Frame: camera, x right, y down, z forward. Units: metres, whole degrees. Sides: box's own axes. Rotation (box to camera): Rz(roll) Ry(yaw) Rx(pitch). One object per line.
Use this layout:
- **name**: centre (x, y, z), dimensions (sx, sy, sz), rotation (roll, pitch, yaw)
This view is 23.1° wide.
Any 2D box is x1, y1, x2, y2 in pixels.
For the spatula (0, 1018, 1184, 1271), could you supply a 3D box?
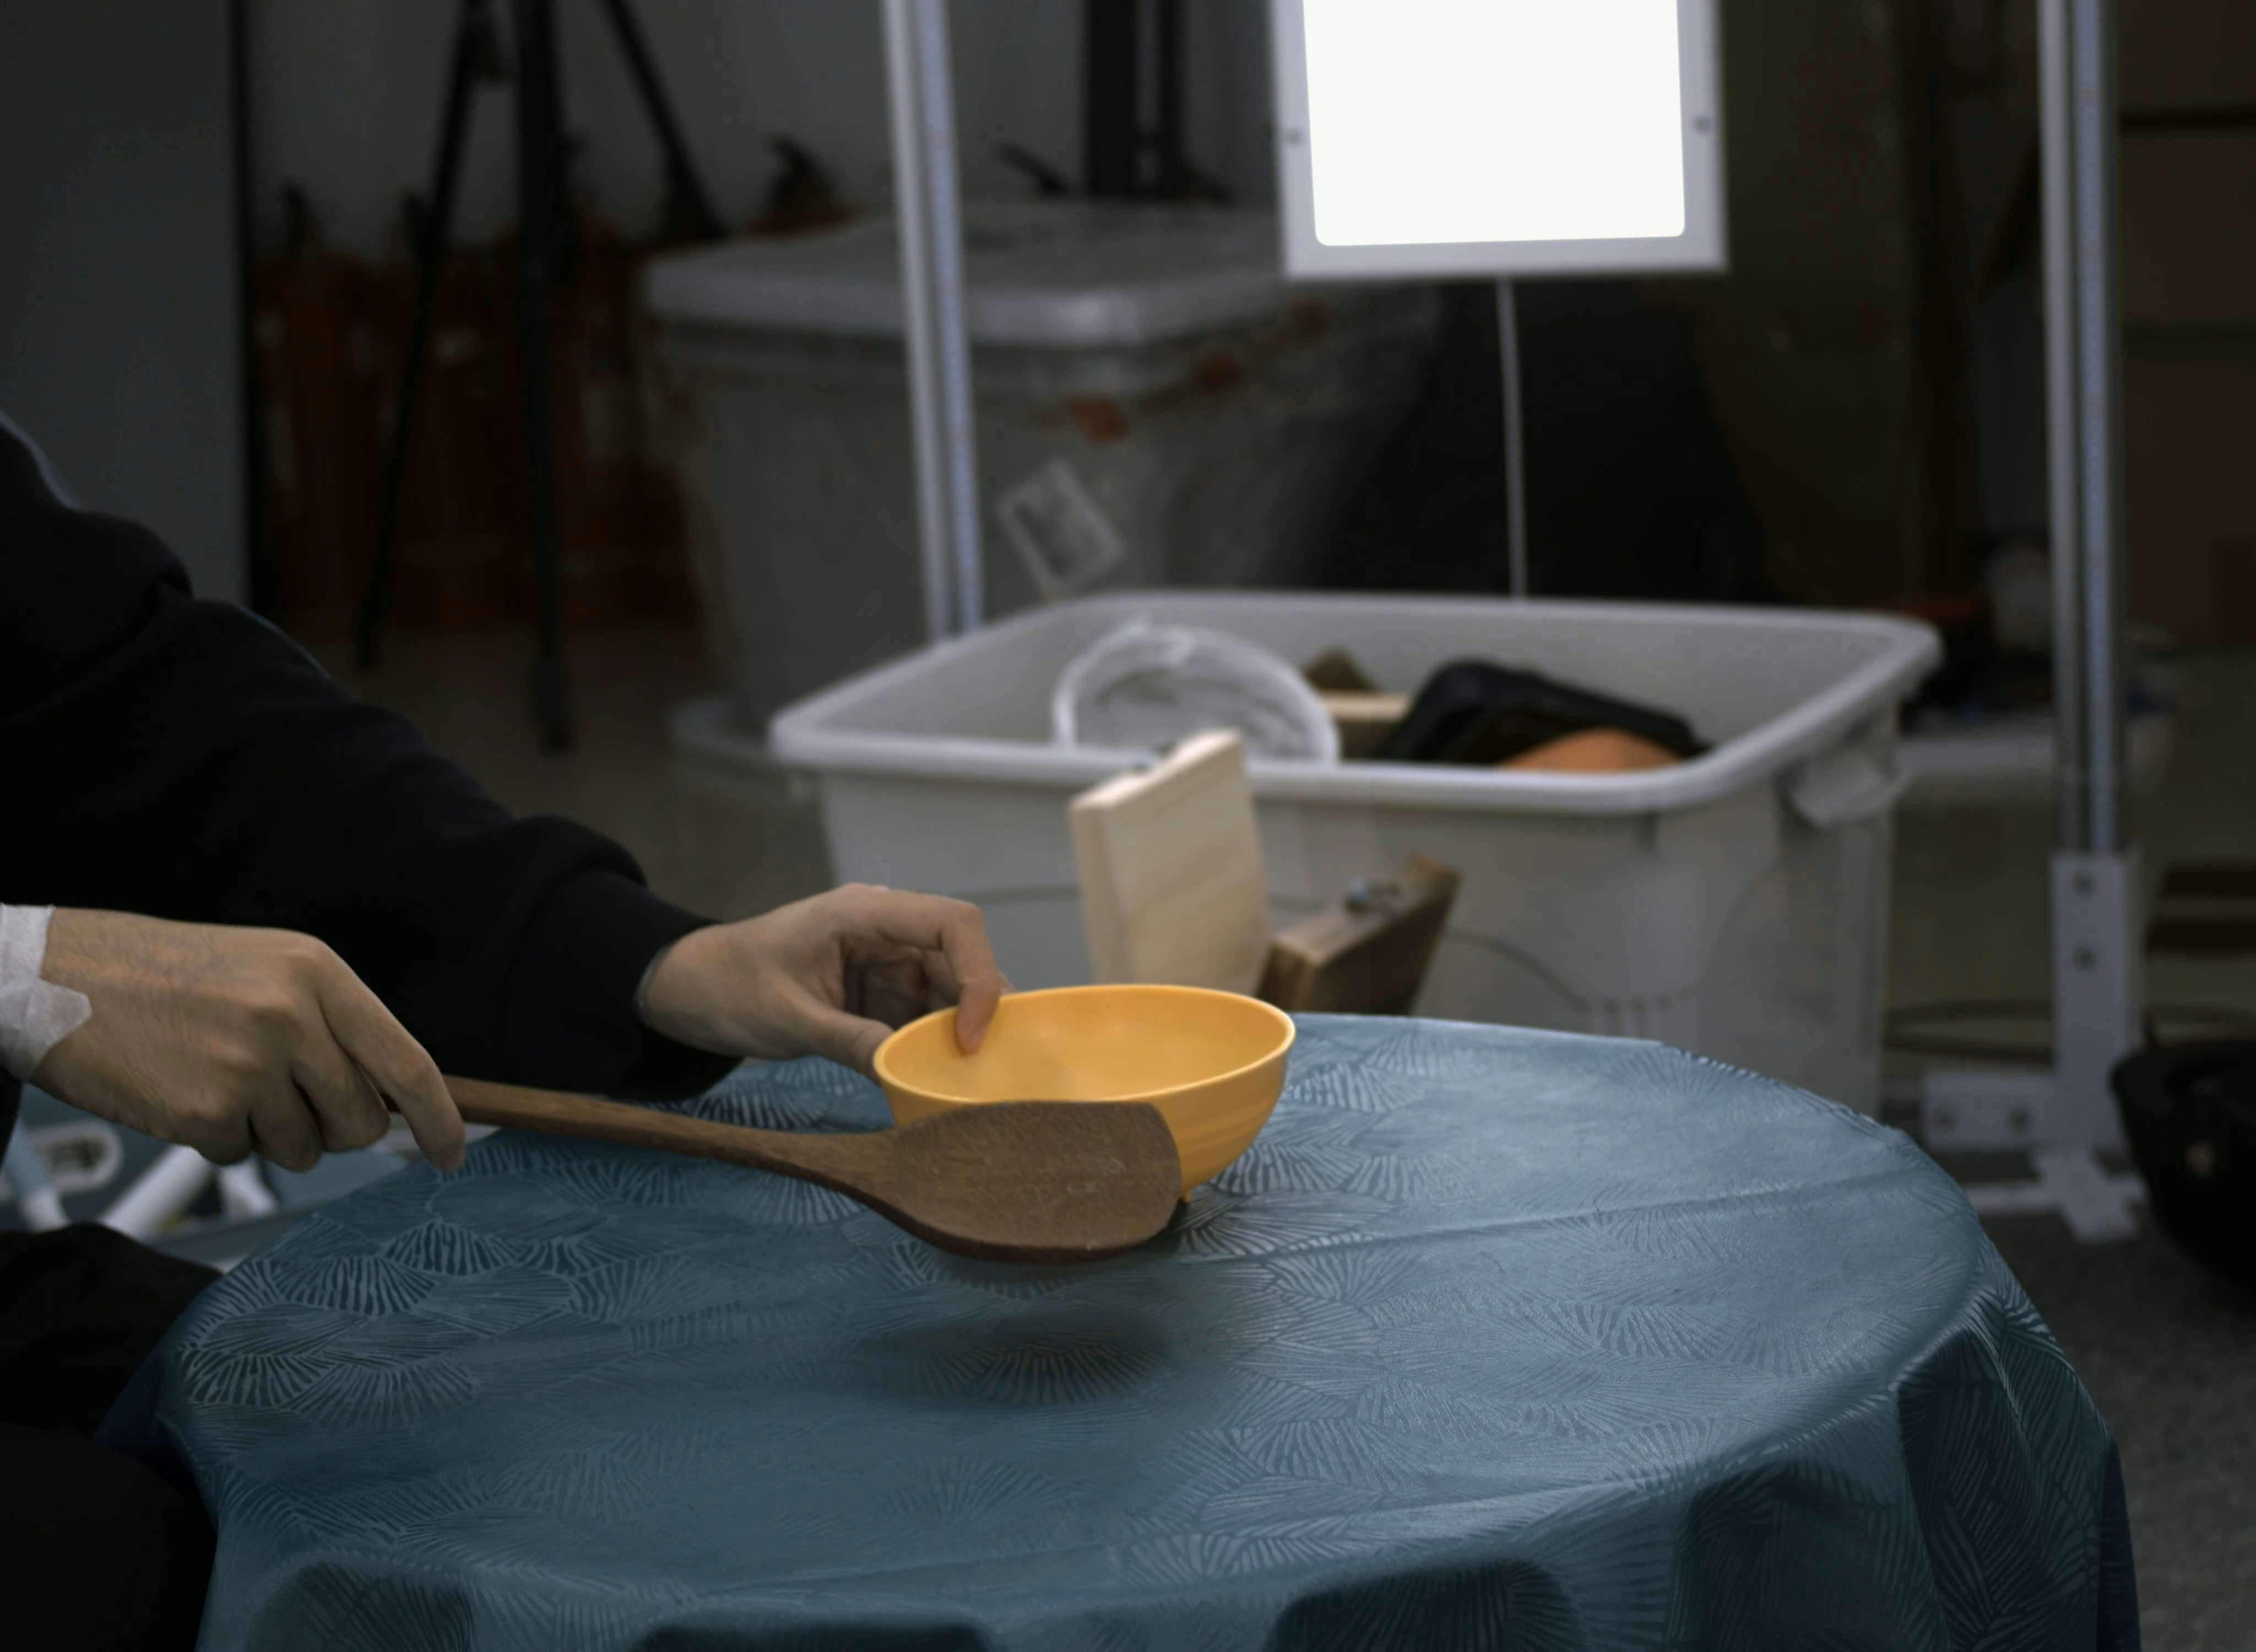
- **spatula**: centre (-0.173, 0.094, 1.745), dimensions (0.386, 0.016, 0.095), rotation (8, 27, 3)

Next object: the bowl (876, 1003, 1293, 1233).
- **bowl**: centre (-0.013, 0.104, 1.880), dimensions (0.145, 0.060, 0.145), rotation (-5, 11, 0)
